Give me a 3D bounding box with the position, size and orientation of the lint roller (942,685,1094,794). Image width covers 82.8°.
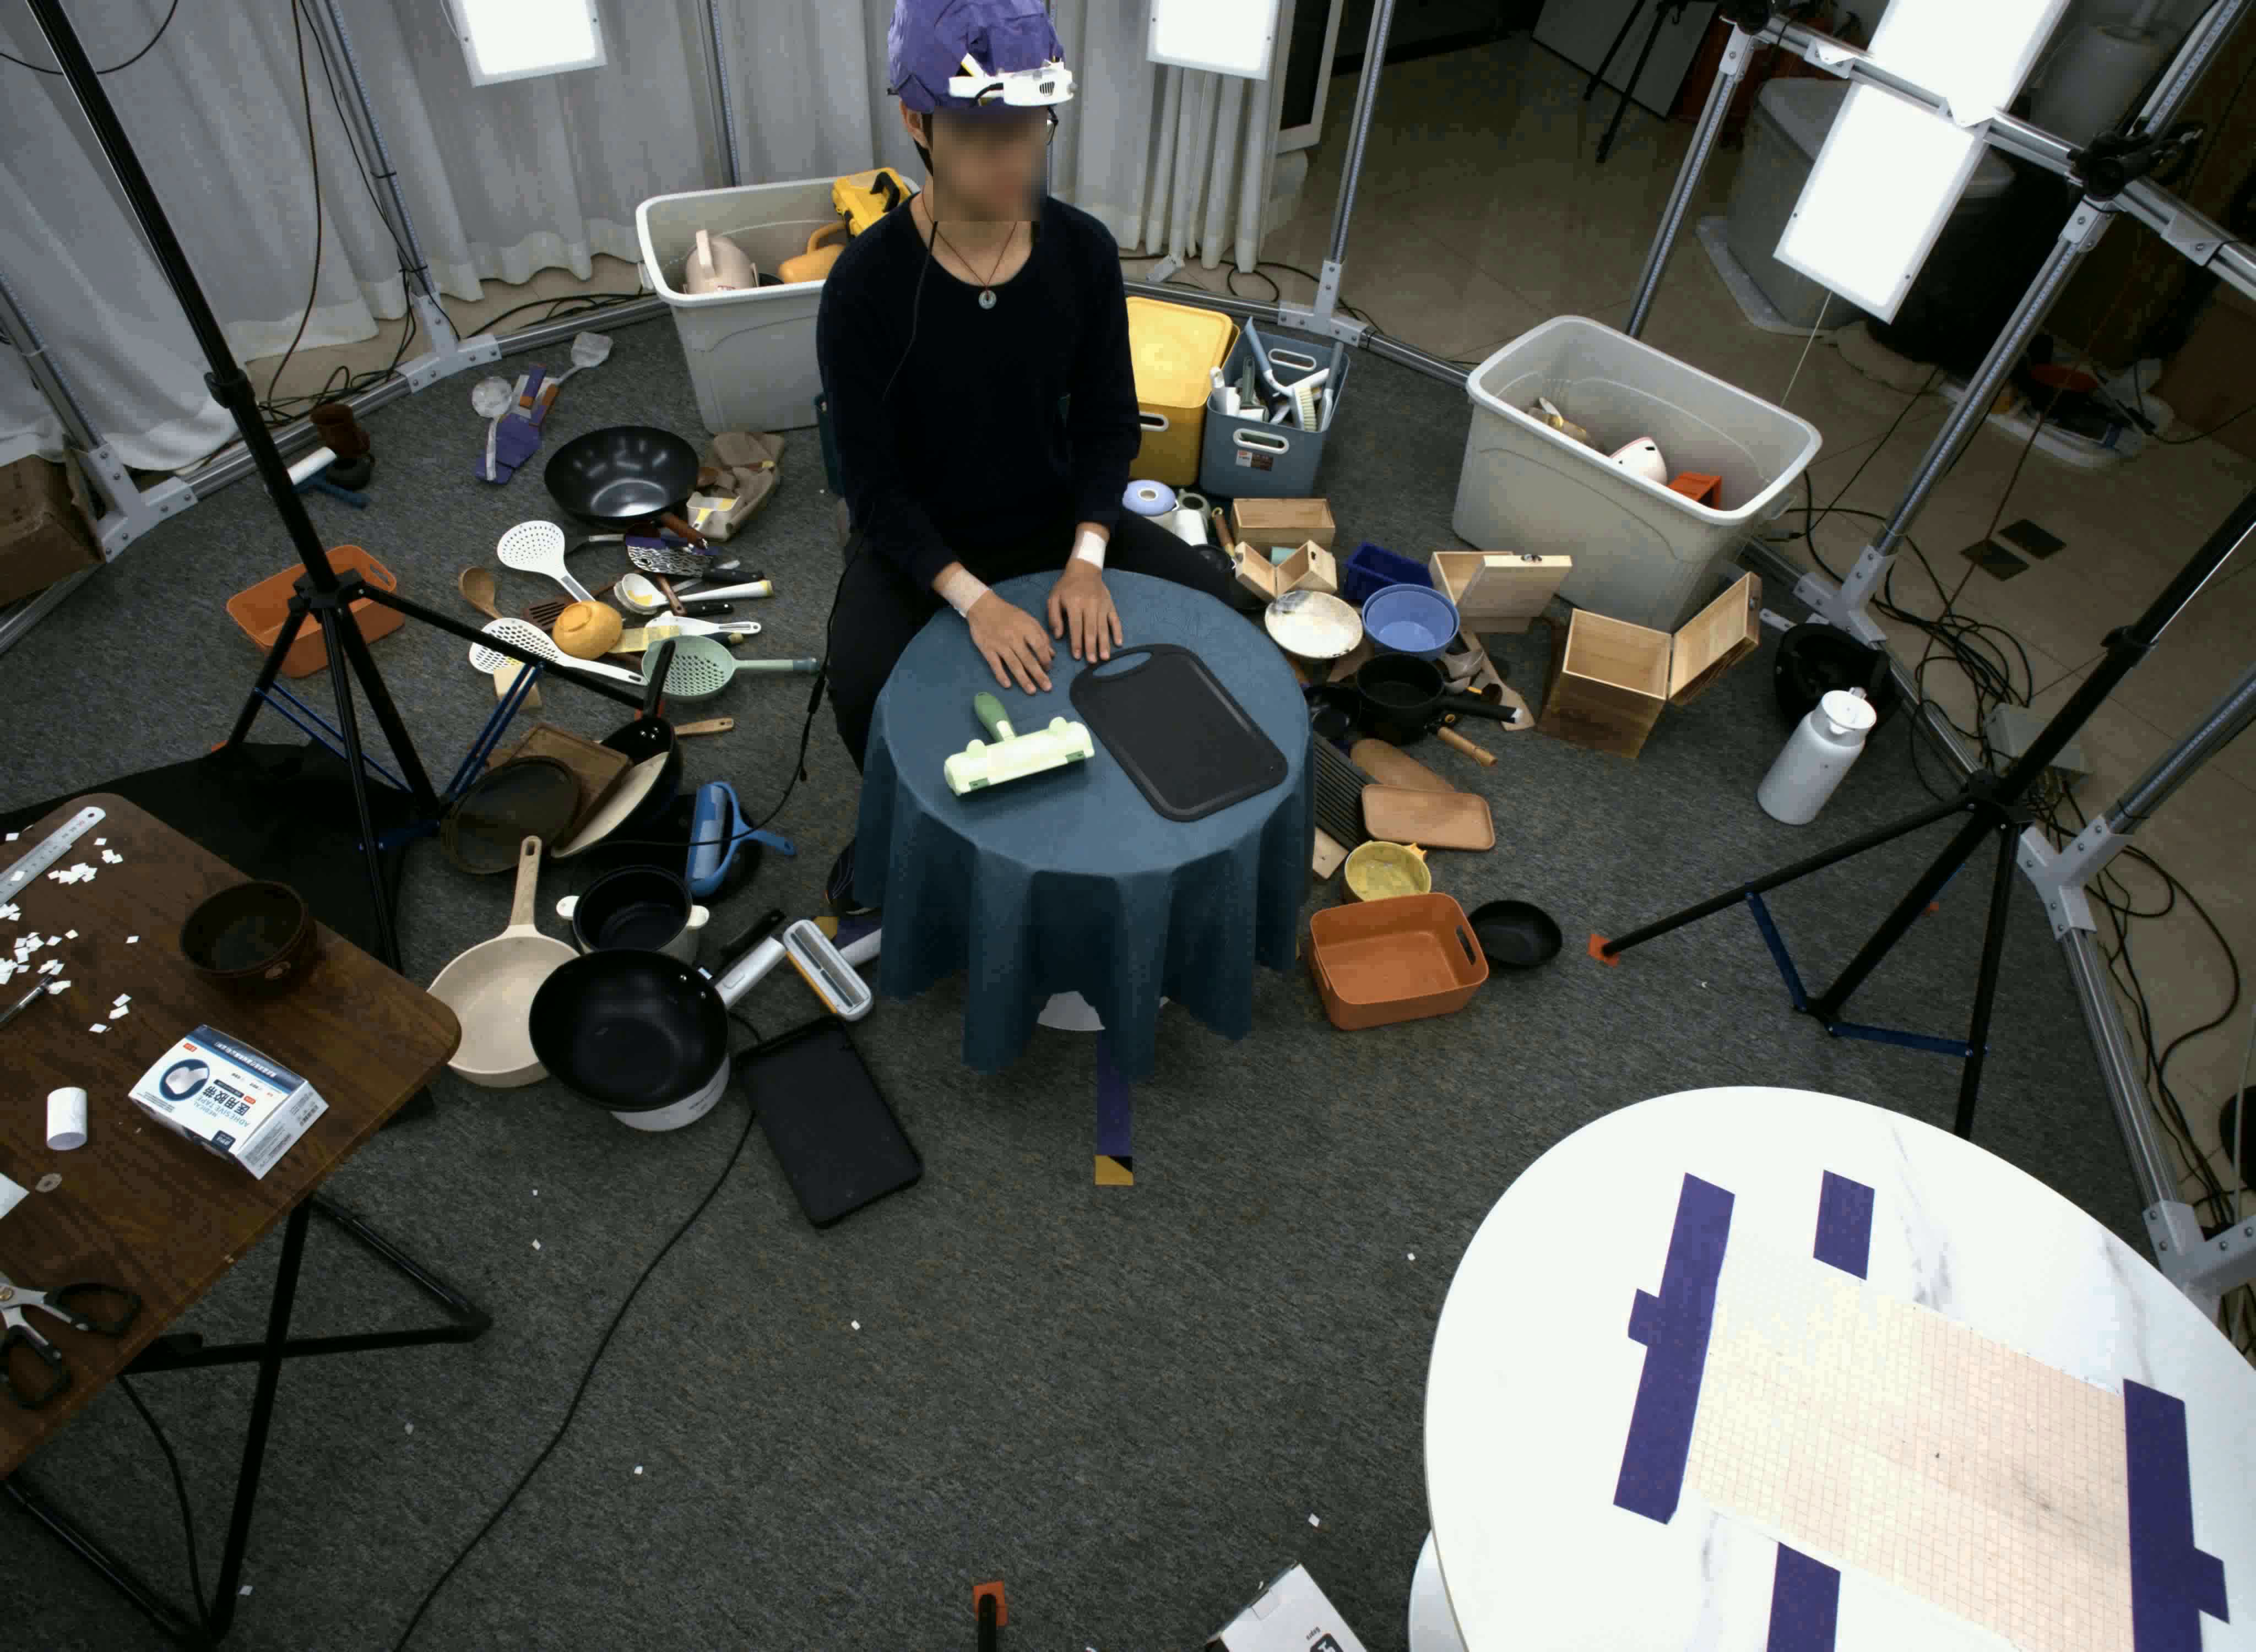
[{"bbox_3d":[-0.168,-0.139,1.722,0.199,0.080,0.187,-17,59,-19],"label":"lint roller"}]

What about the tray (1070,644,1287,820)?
[{"bbox_3d":[0.062,-0.144,1.793,0.212,0.009,0.332,-22,54,-21],"label":"tray"}]
